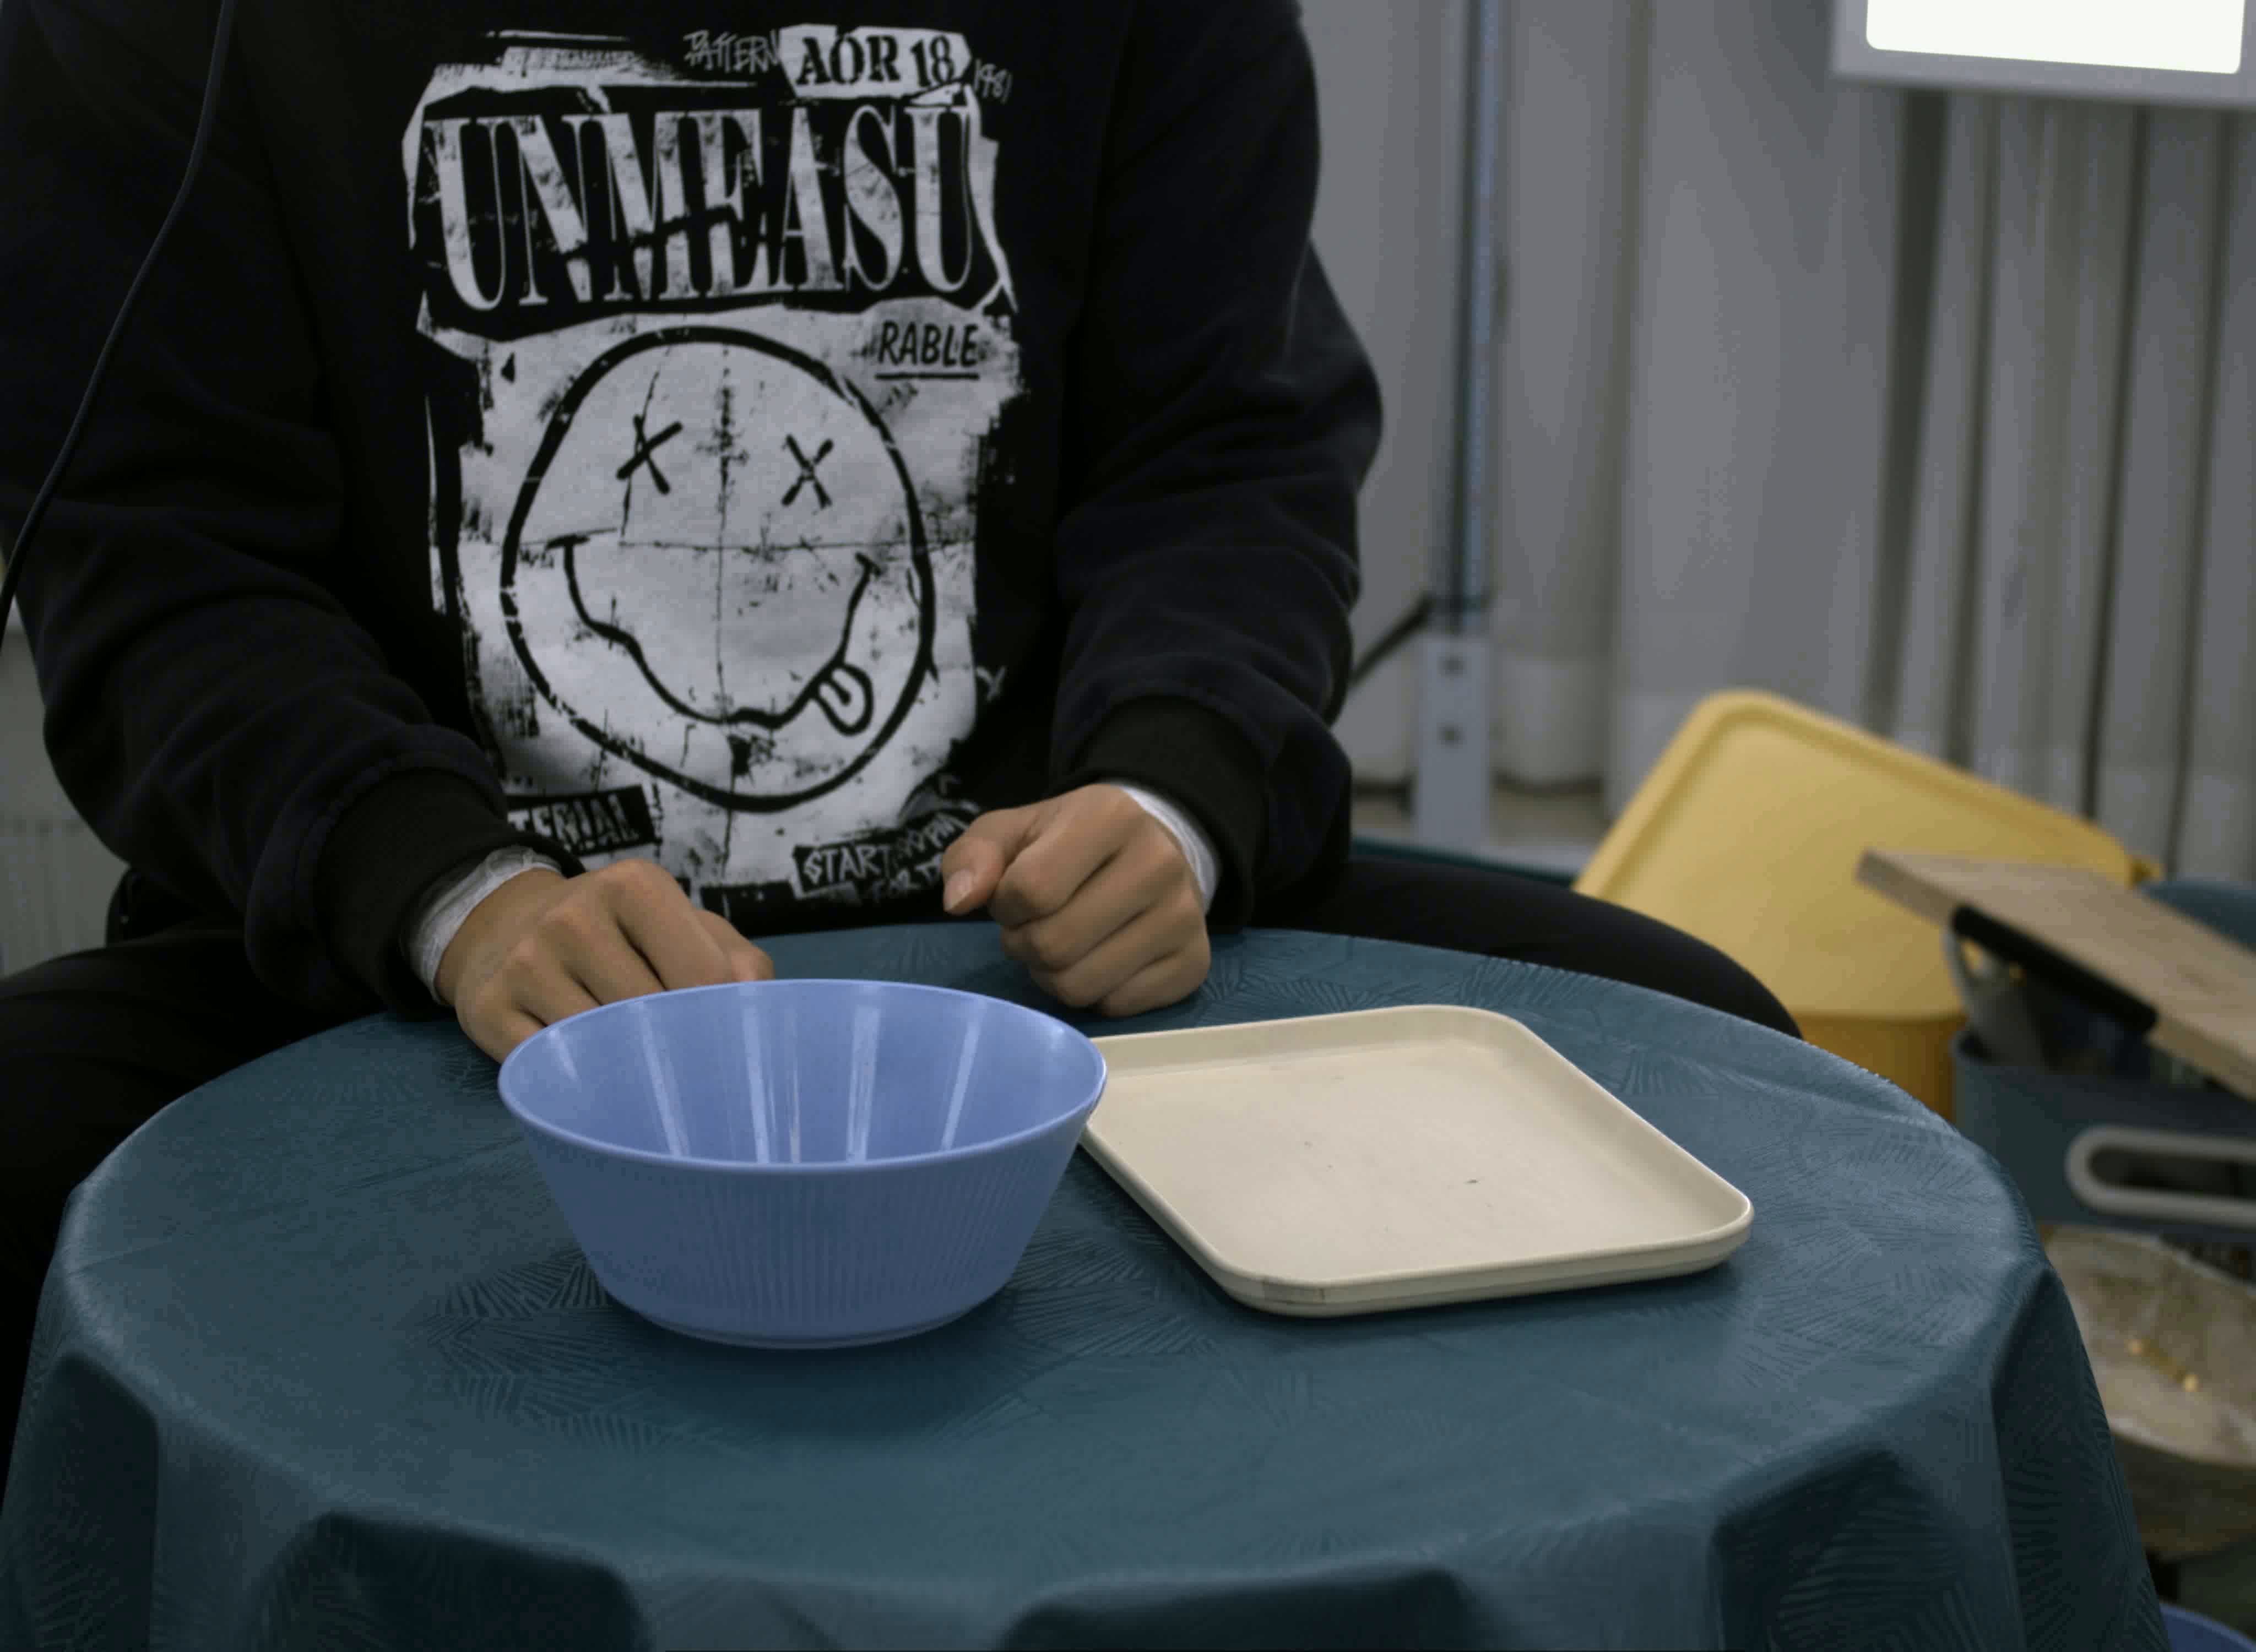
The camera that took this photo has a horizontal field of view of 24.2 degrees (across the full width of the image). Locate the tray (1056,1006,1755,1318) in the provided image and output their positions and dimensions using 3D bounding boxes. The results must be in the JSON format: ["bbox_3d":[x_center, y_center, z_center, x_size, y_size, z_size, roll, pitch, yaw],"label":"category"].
[{"bbox_3d":[0.077,0.103,1.633,0.171,0.017,0.237,-4,16,-18],"label":"tray"}]

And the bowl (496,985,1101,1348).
[{"bbox_3d":[-0.096,0.101,1.533,0.175,0.071,0.175,2,15,0],"label":"bowl"}]
